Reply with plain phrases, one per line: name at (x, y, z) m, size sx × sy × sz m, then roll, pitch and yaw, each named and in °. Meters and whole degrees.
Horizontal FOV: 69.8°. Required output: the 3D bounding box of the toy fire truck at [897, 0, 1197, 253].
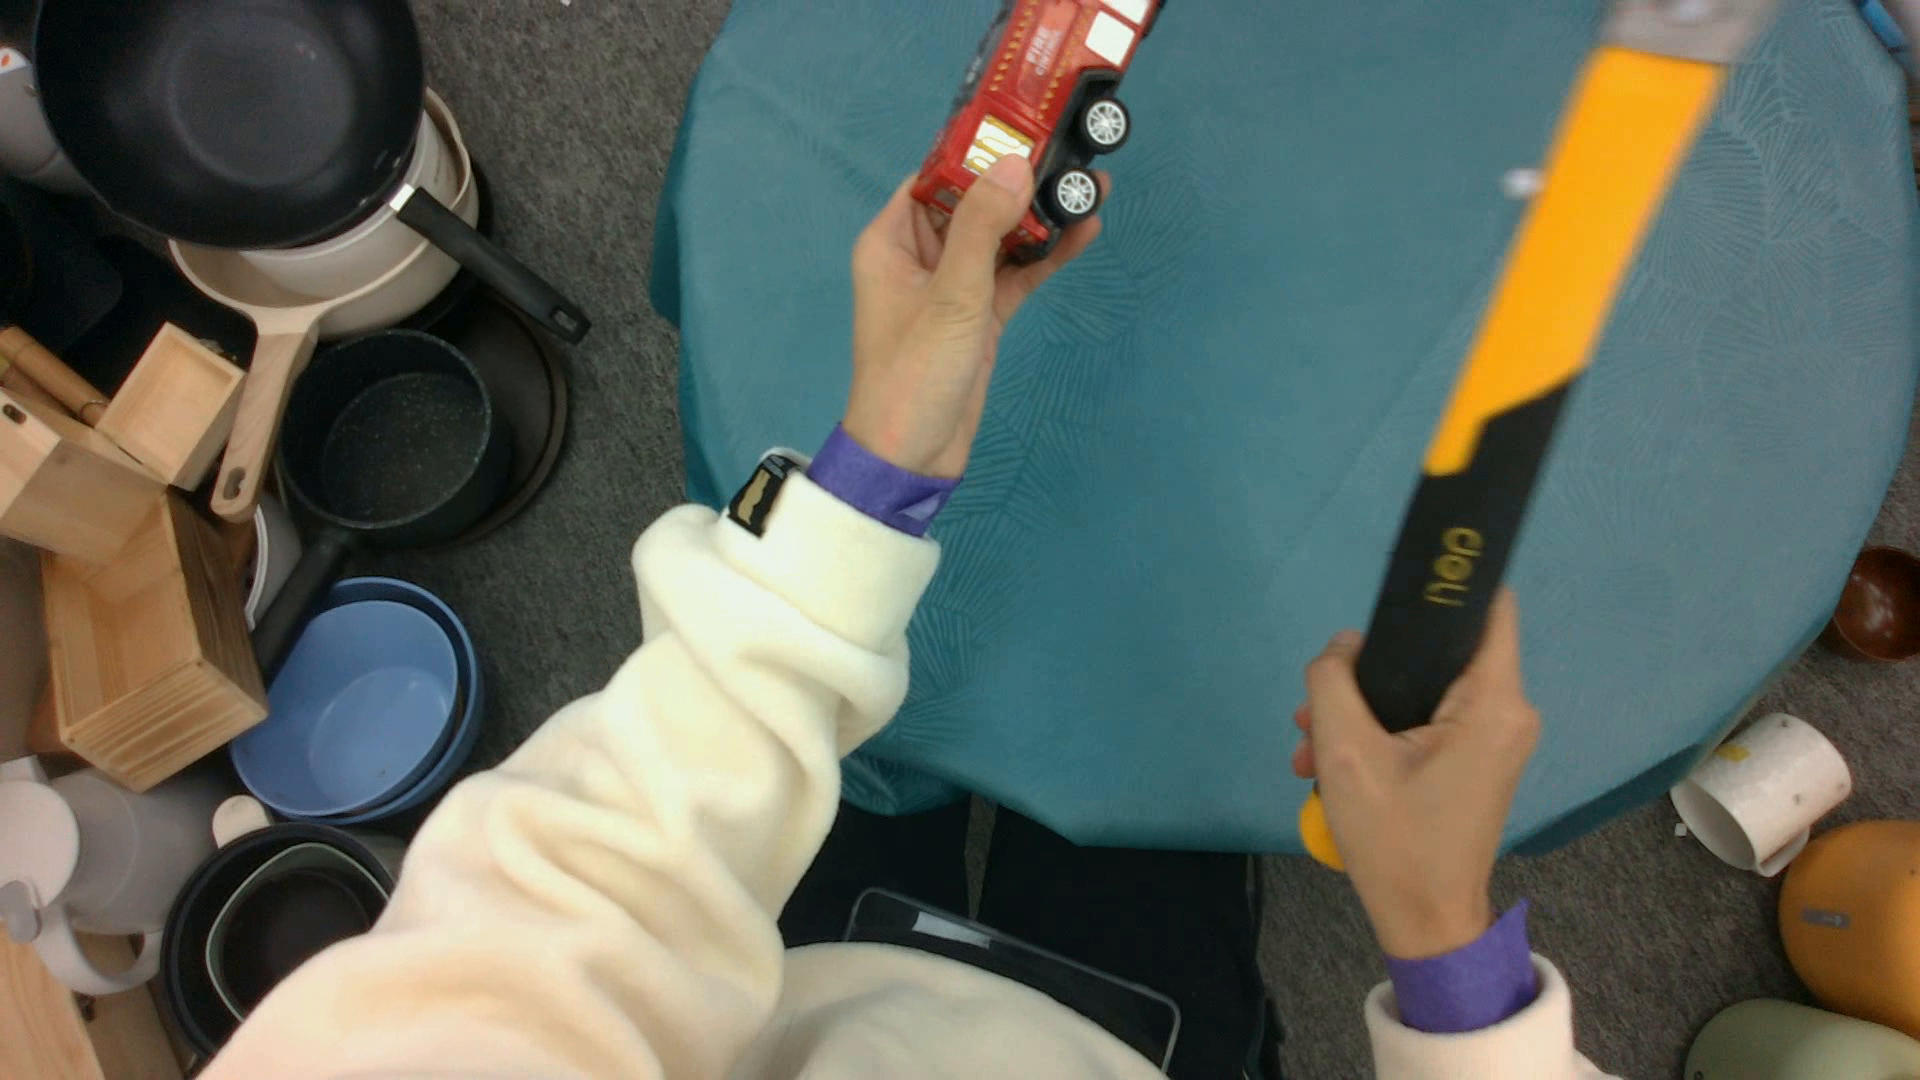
toy fire truck at (0.039, -0.182, 0.474) m, size 0.070 × 0.054 × 0.168 m, roll 26°, pitch 86°, yaw -15°

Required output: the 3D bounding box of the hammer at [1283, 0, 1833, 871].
hammer at (0.149, -0.029, 0.422) m, size 0.131 × 0.032 × 0.337 m, roll 13°, pitch 122°, yaw 13°
